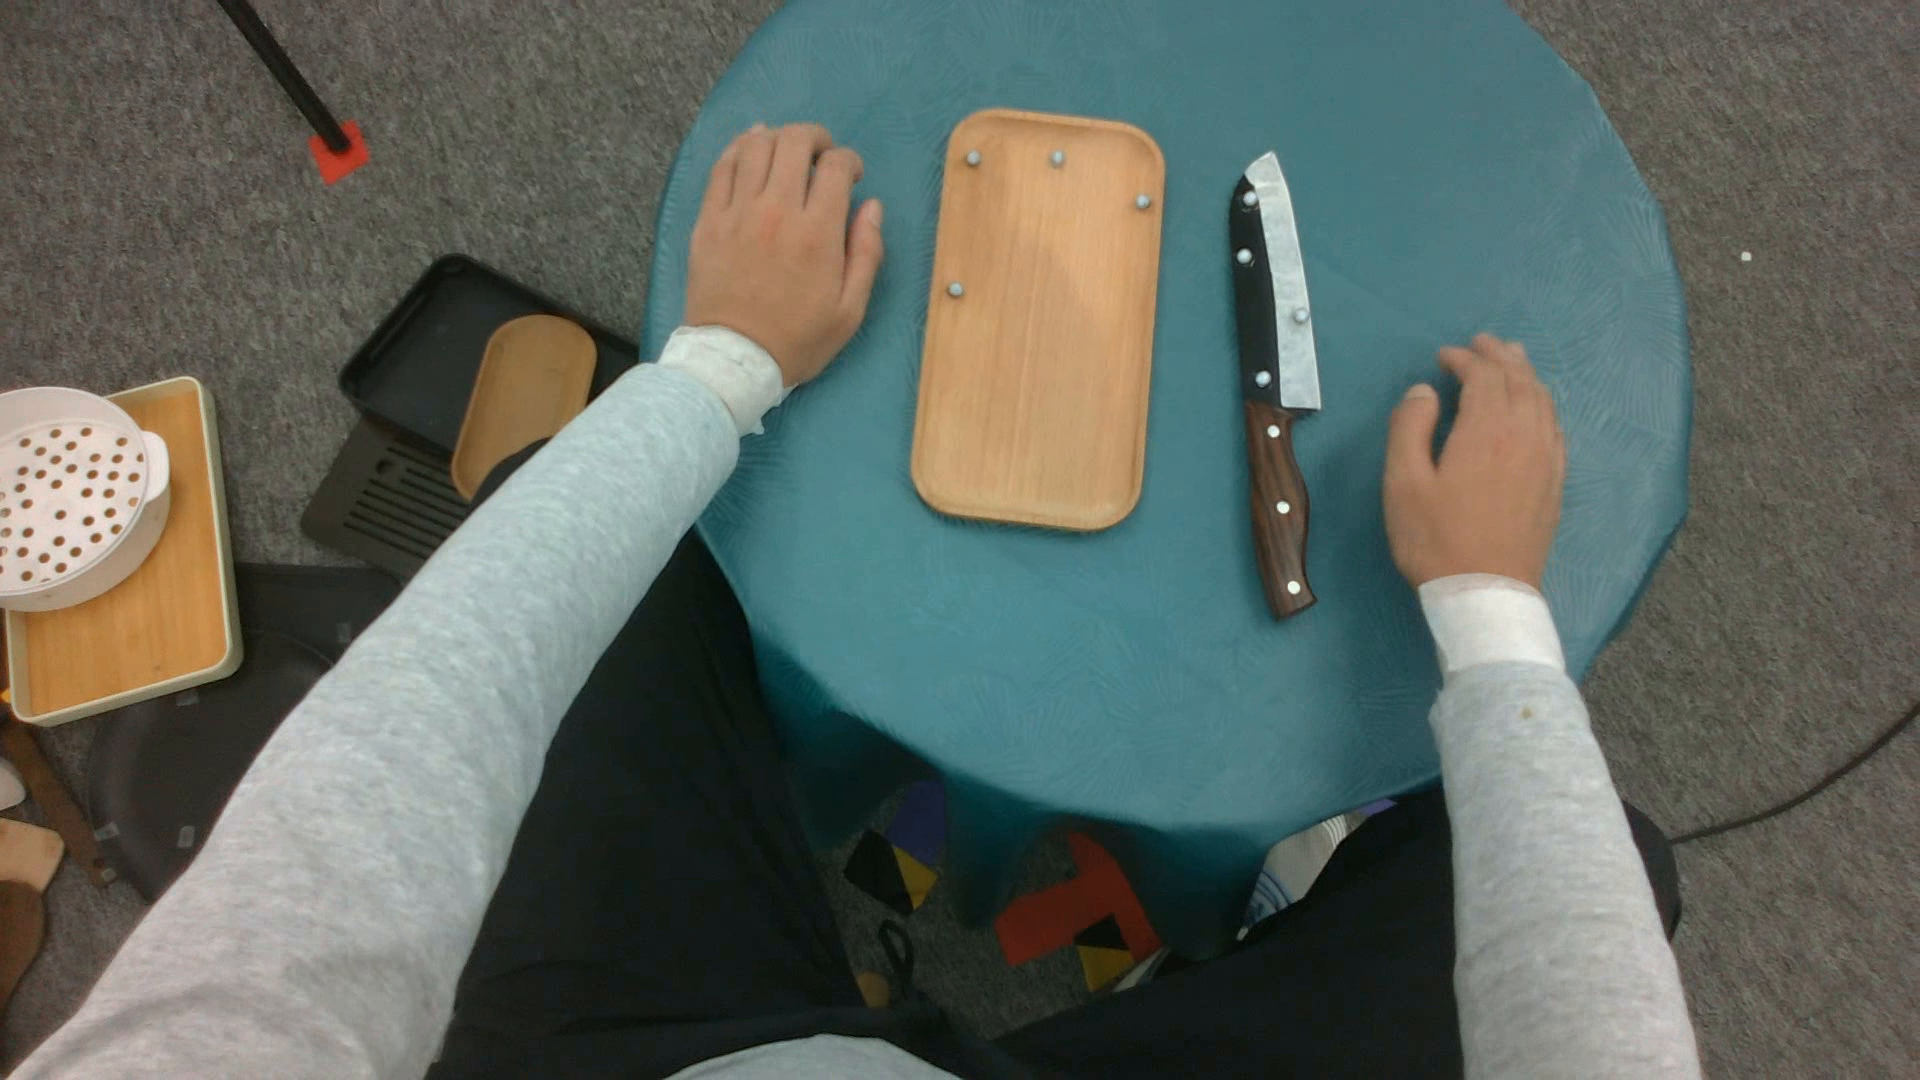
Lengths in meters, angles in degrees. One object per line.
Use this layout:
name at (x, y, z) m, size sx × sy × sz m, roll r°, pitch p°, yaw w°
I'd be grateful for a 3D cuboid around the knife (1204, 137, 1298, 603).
knife at (0.166, -0.104, 0.776) m, size 0.050 × 0.020 × 0.290 m, roll 3°, pitch 71°, yaw -8°

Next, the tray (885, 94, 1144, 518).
tray at (0.034, -0.135, 0.776) m, size 0.130 × 0.023 × 0.251 m, roll 7°, pitch 74°, yaw 1°
